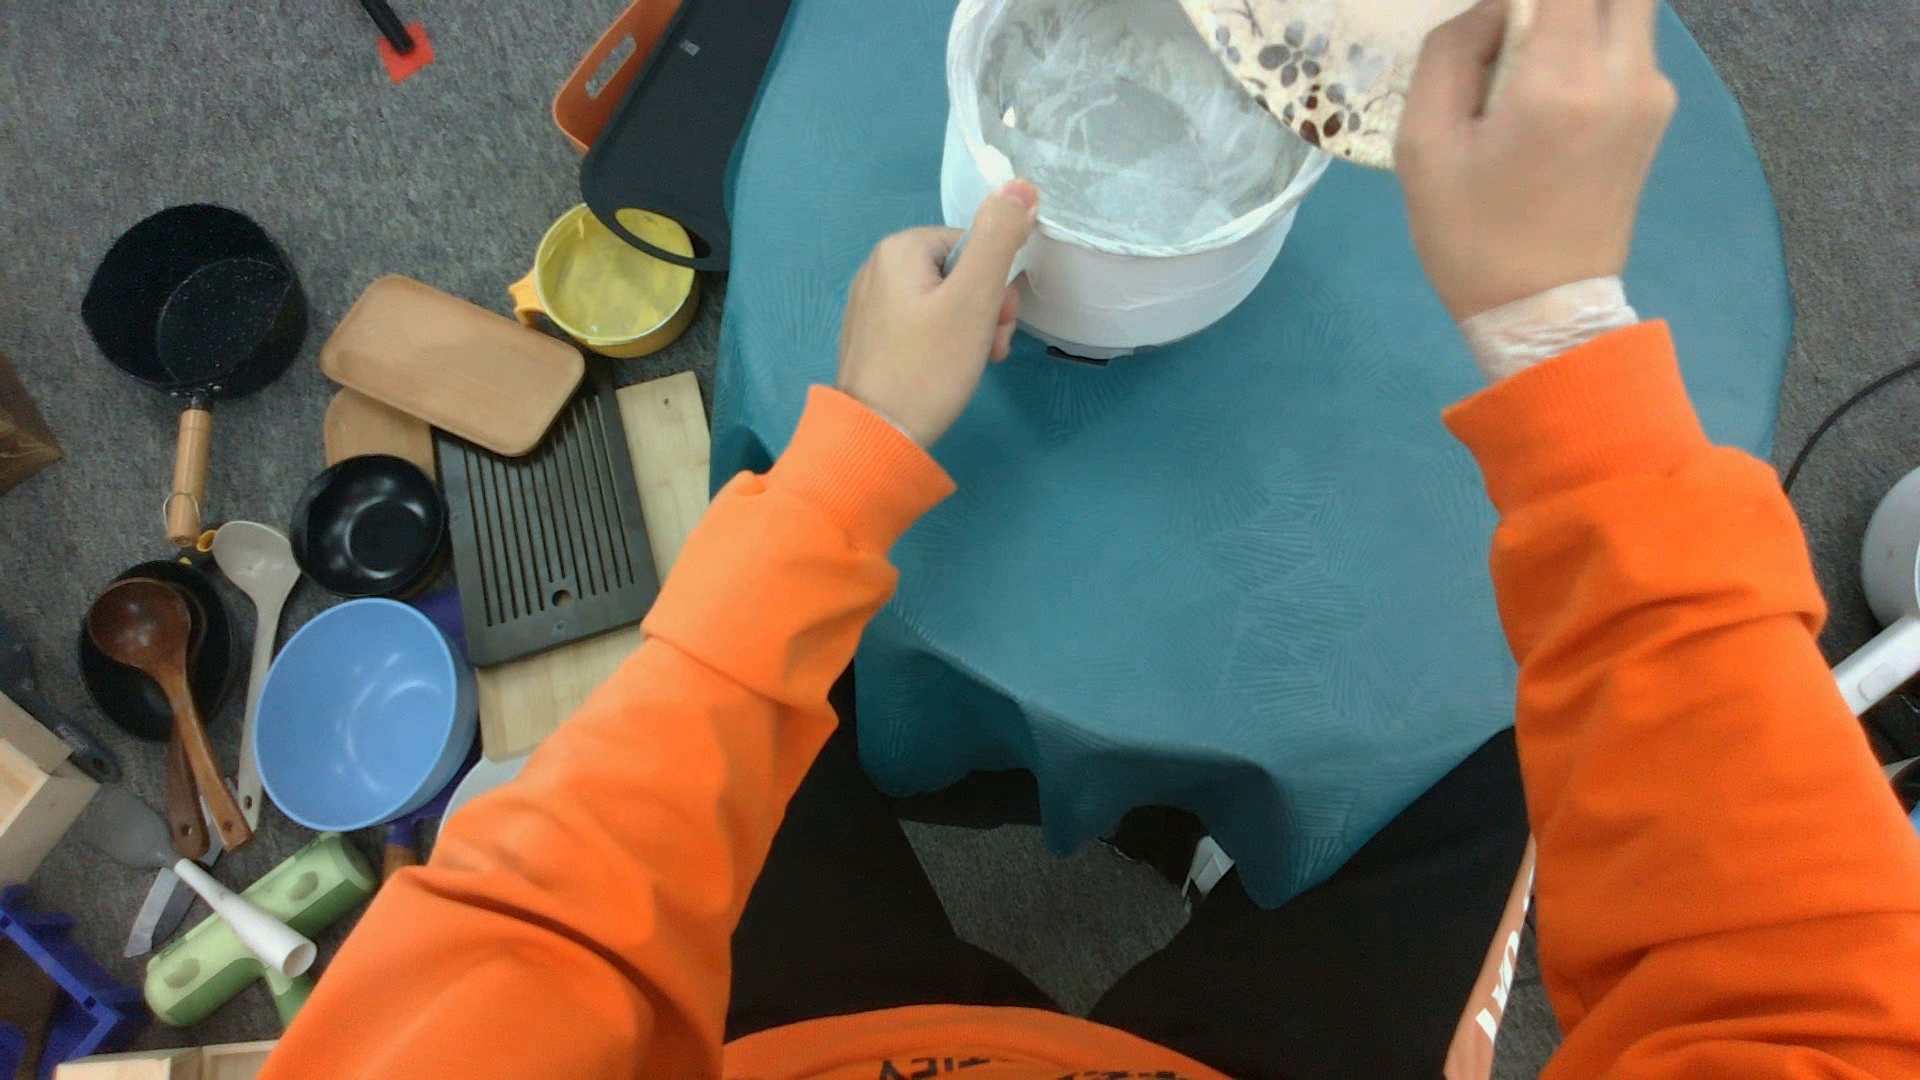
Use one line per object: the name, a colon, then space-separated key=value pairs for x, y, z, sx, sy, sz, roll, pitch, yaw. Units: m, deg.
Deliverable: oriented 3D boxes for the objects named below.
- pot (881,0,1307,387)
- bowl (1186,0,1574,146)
pot: x=0.049 y=-0.176 z=0.661 sx=0.179 sy=0.136 sz=0.234 roll=39 pitch=76 yaw=8
bowl: x=0.156 y=-0.251 z=0.493 sx=0.078 sy=0.203 sz=0.204 roll=-37 pitch=77 yaw=-17
